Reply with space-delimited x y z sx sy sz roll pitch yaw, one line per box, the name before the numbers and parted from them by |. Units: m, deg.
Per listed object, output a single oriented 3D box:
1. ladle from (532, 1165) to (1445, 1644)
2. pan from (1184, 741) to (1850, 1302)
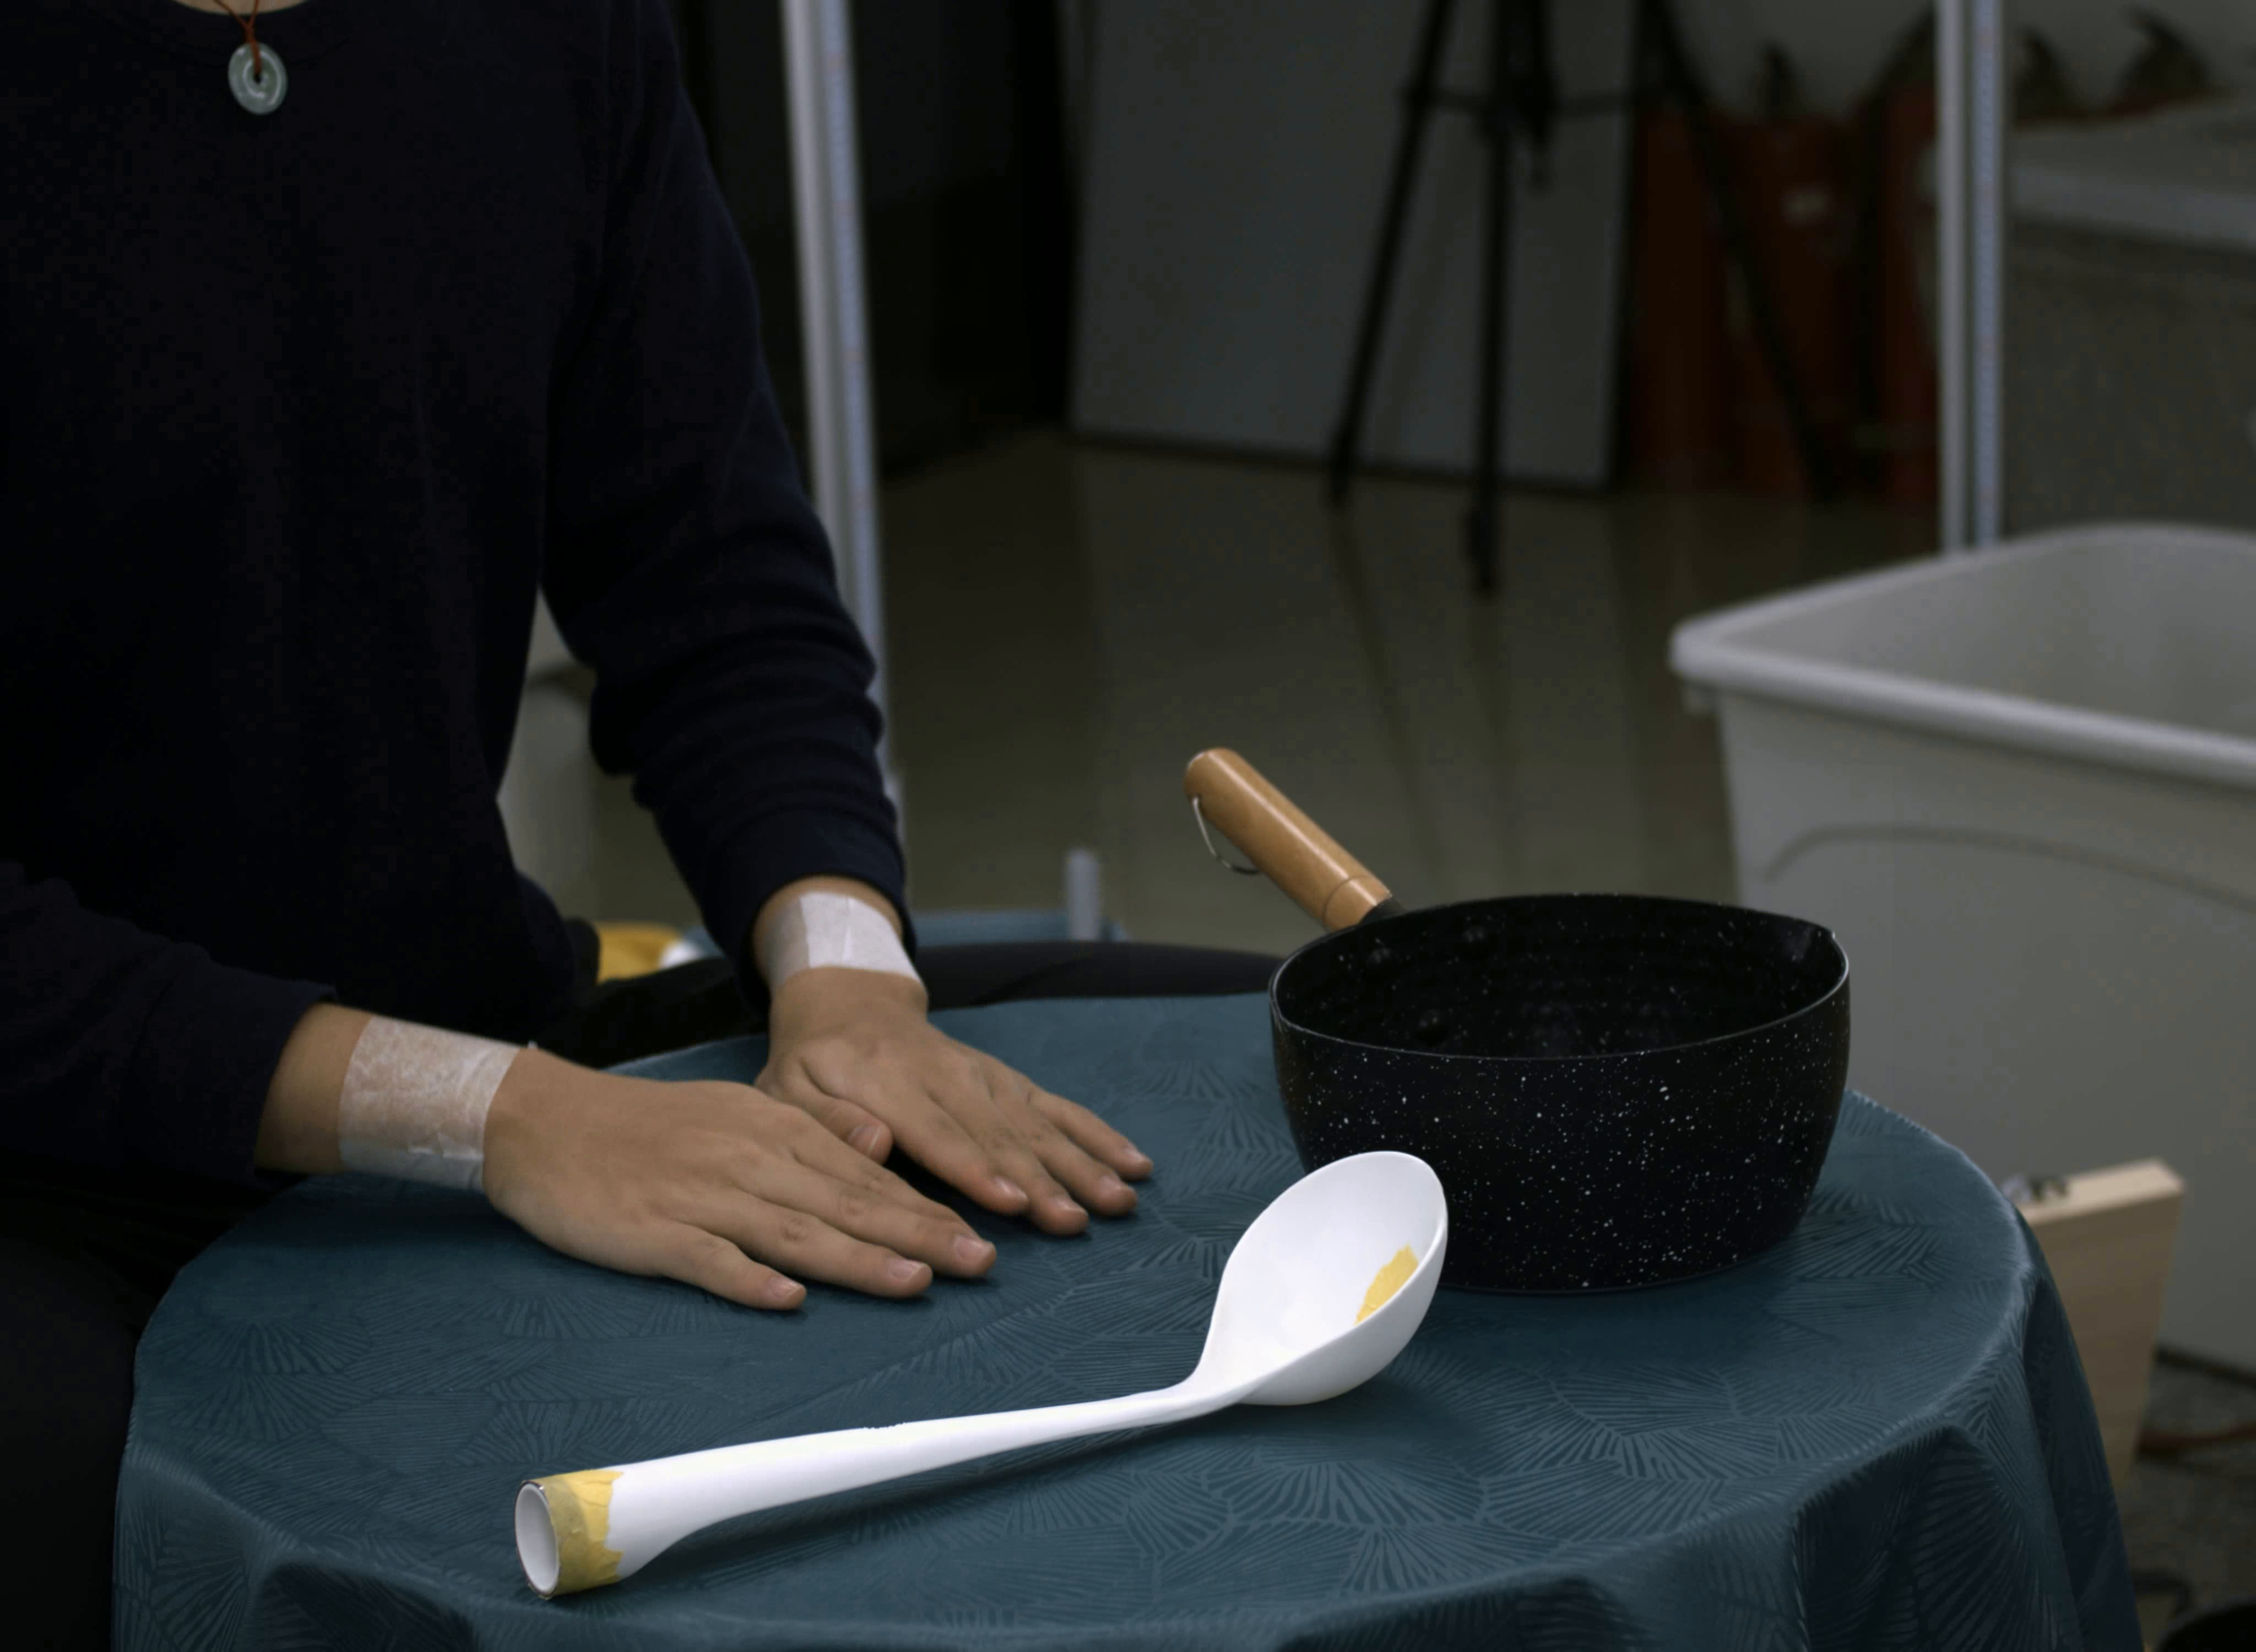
ladle | -0.034 0.157 1.501 0.286 0.071 0.091 -11 1 -30
pan | 0.101 0.058 1.768 0.203 0.109 0.346 -11 17 -24
